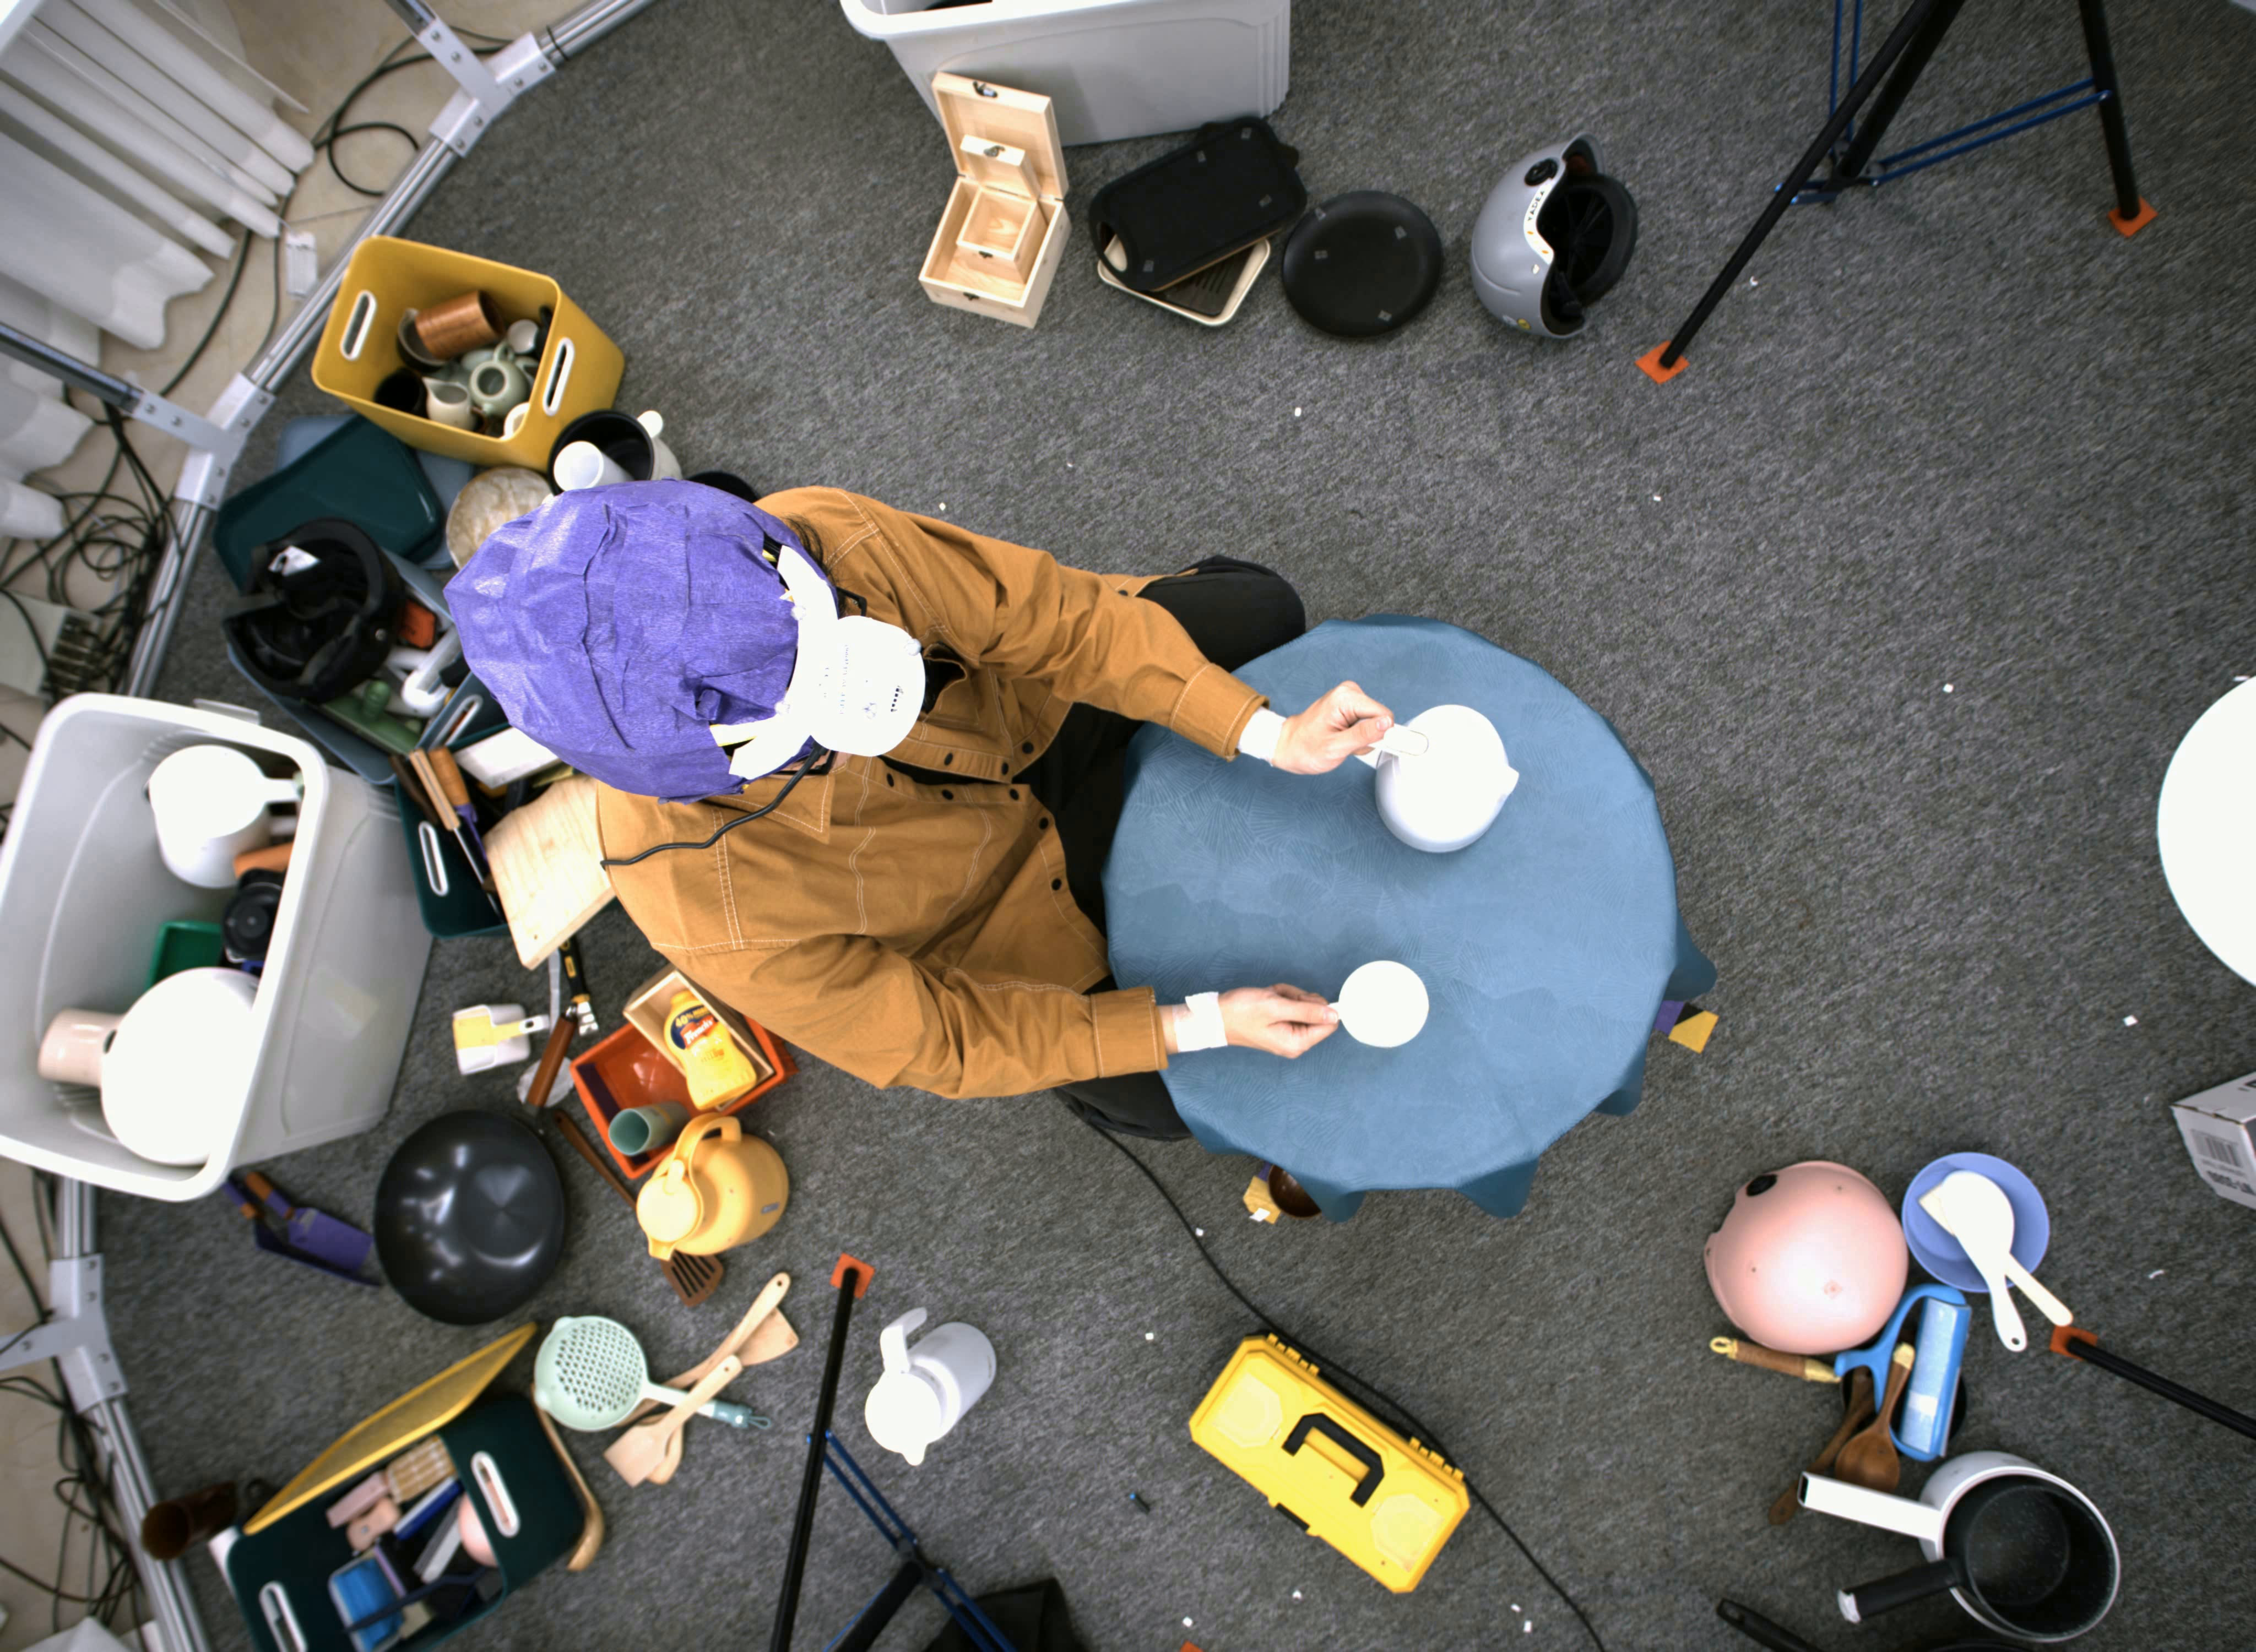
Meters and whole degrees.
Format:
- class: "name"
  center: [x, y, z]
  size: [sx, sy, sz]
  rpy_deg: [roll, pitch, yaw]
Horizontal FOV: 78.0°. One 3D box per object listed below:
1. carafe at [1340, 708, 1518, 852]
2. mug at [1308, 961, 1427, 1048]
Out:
- class: "carafe"
  center: [0.288, -0.057, 1.338]
  size: [0.167, 0.248, 0.132]
  rpy_deg: [21, 90, 12]
- class: "mug"
  center: [0.243, 0.182, 1.409]
  size: [0.119, 0.102, 0.084]
  rpy_deg: [-12, 83, 10]
